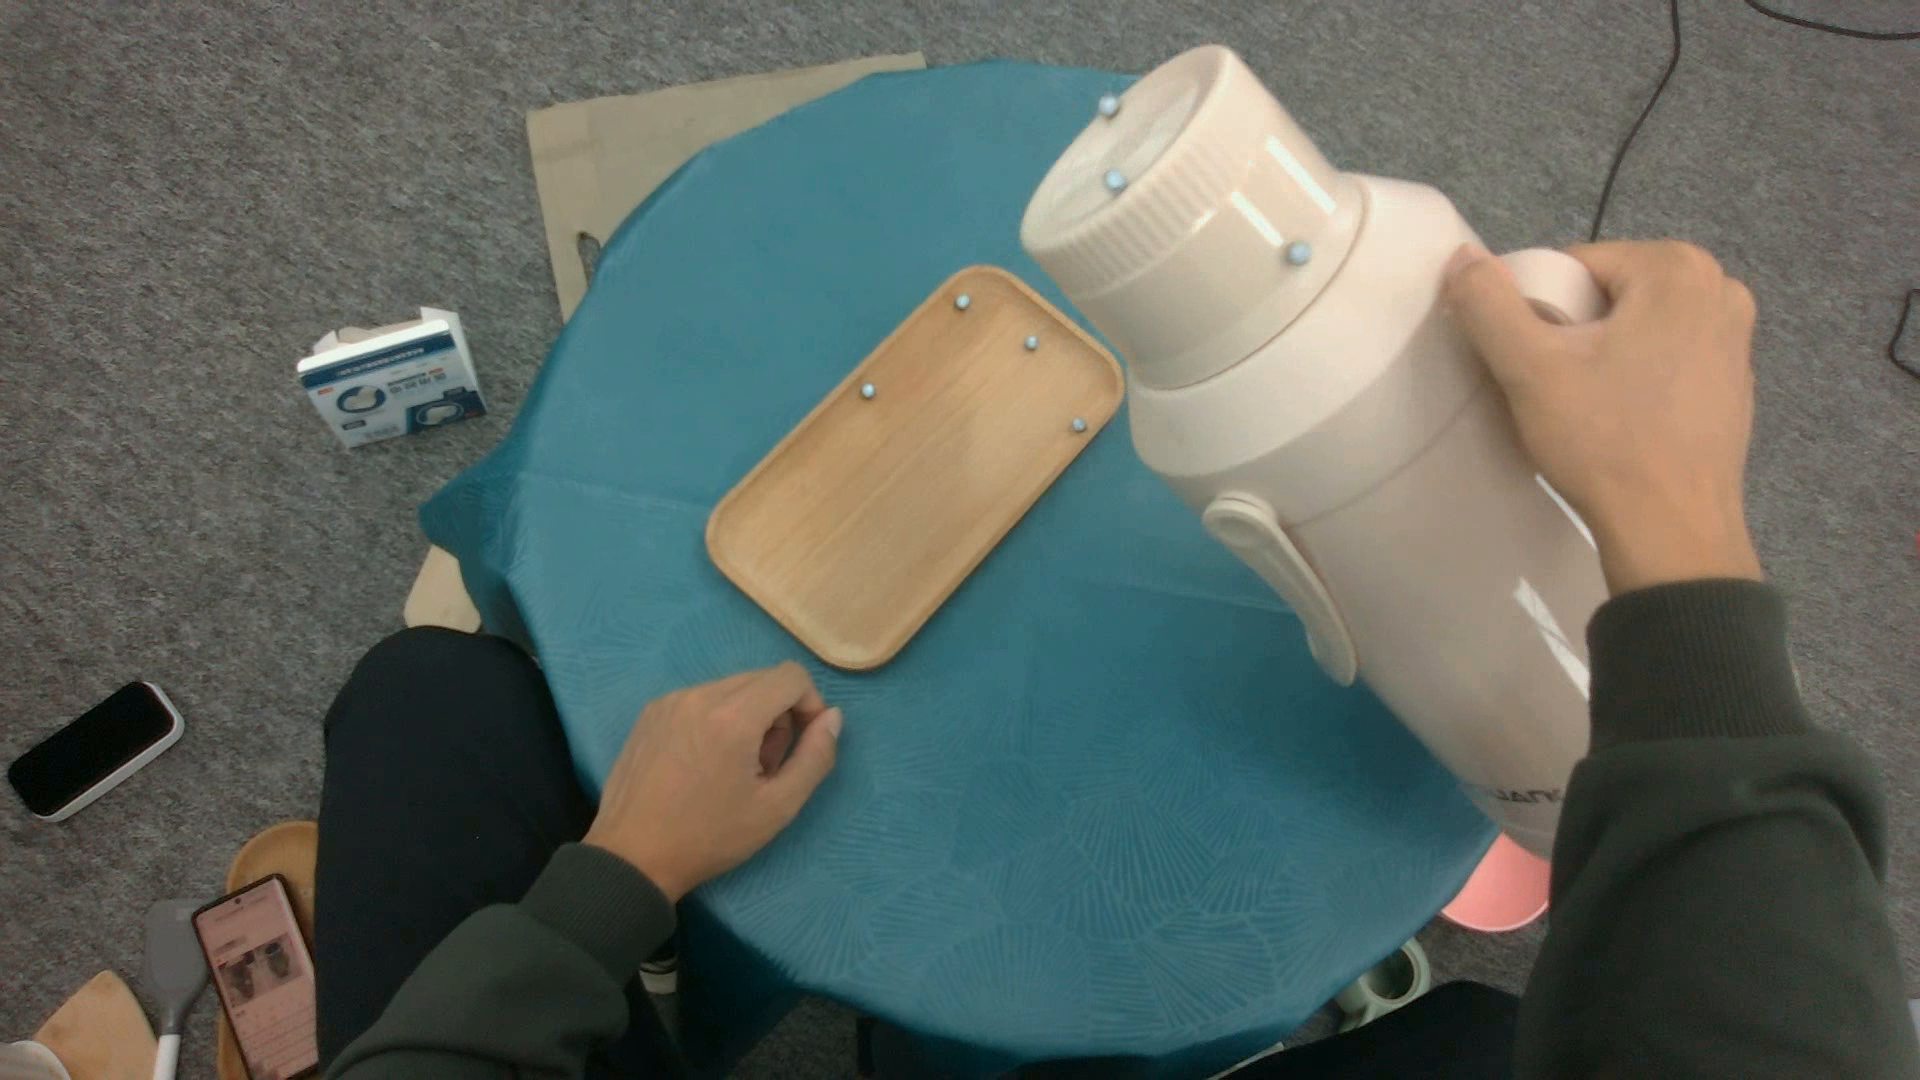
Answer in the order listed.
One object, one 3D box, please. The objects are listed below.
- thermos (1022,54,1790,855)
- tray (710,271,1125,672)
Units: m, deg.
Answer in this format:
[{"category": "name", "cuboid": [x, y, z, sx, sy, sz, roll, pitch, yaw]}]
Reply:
[{"category": "thermos", "cuboid": [0.207, -0.029, 0.599, 0.406, 0.206, 0.176, 42, 63, -24]}, {"category": "tray", "cuboid": [-0.020, -0.044, 0.786, 0.130, 0.023, 0.251, 39, 70, 11]}]
